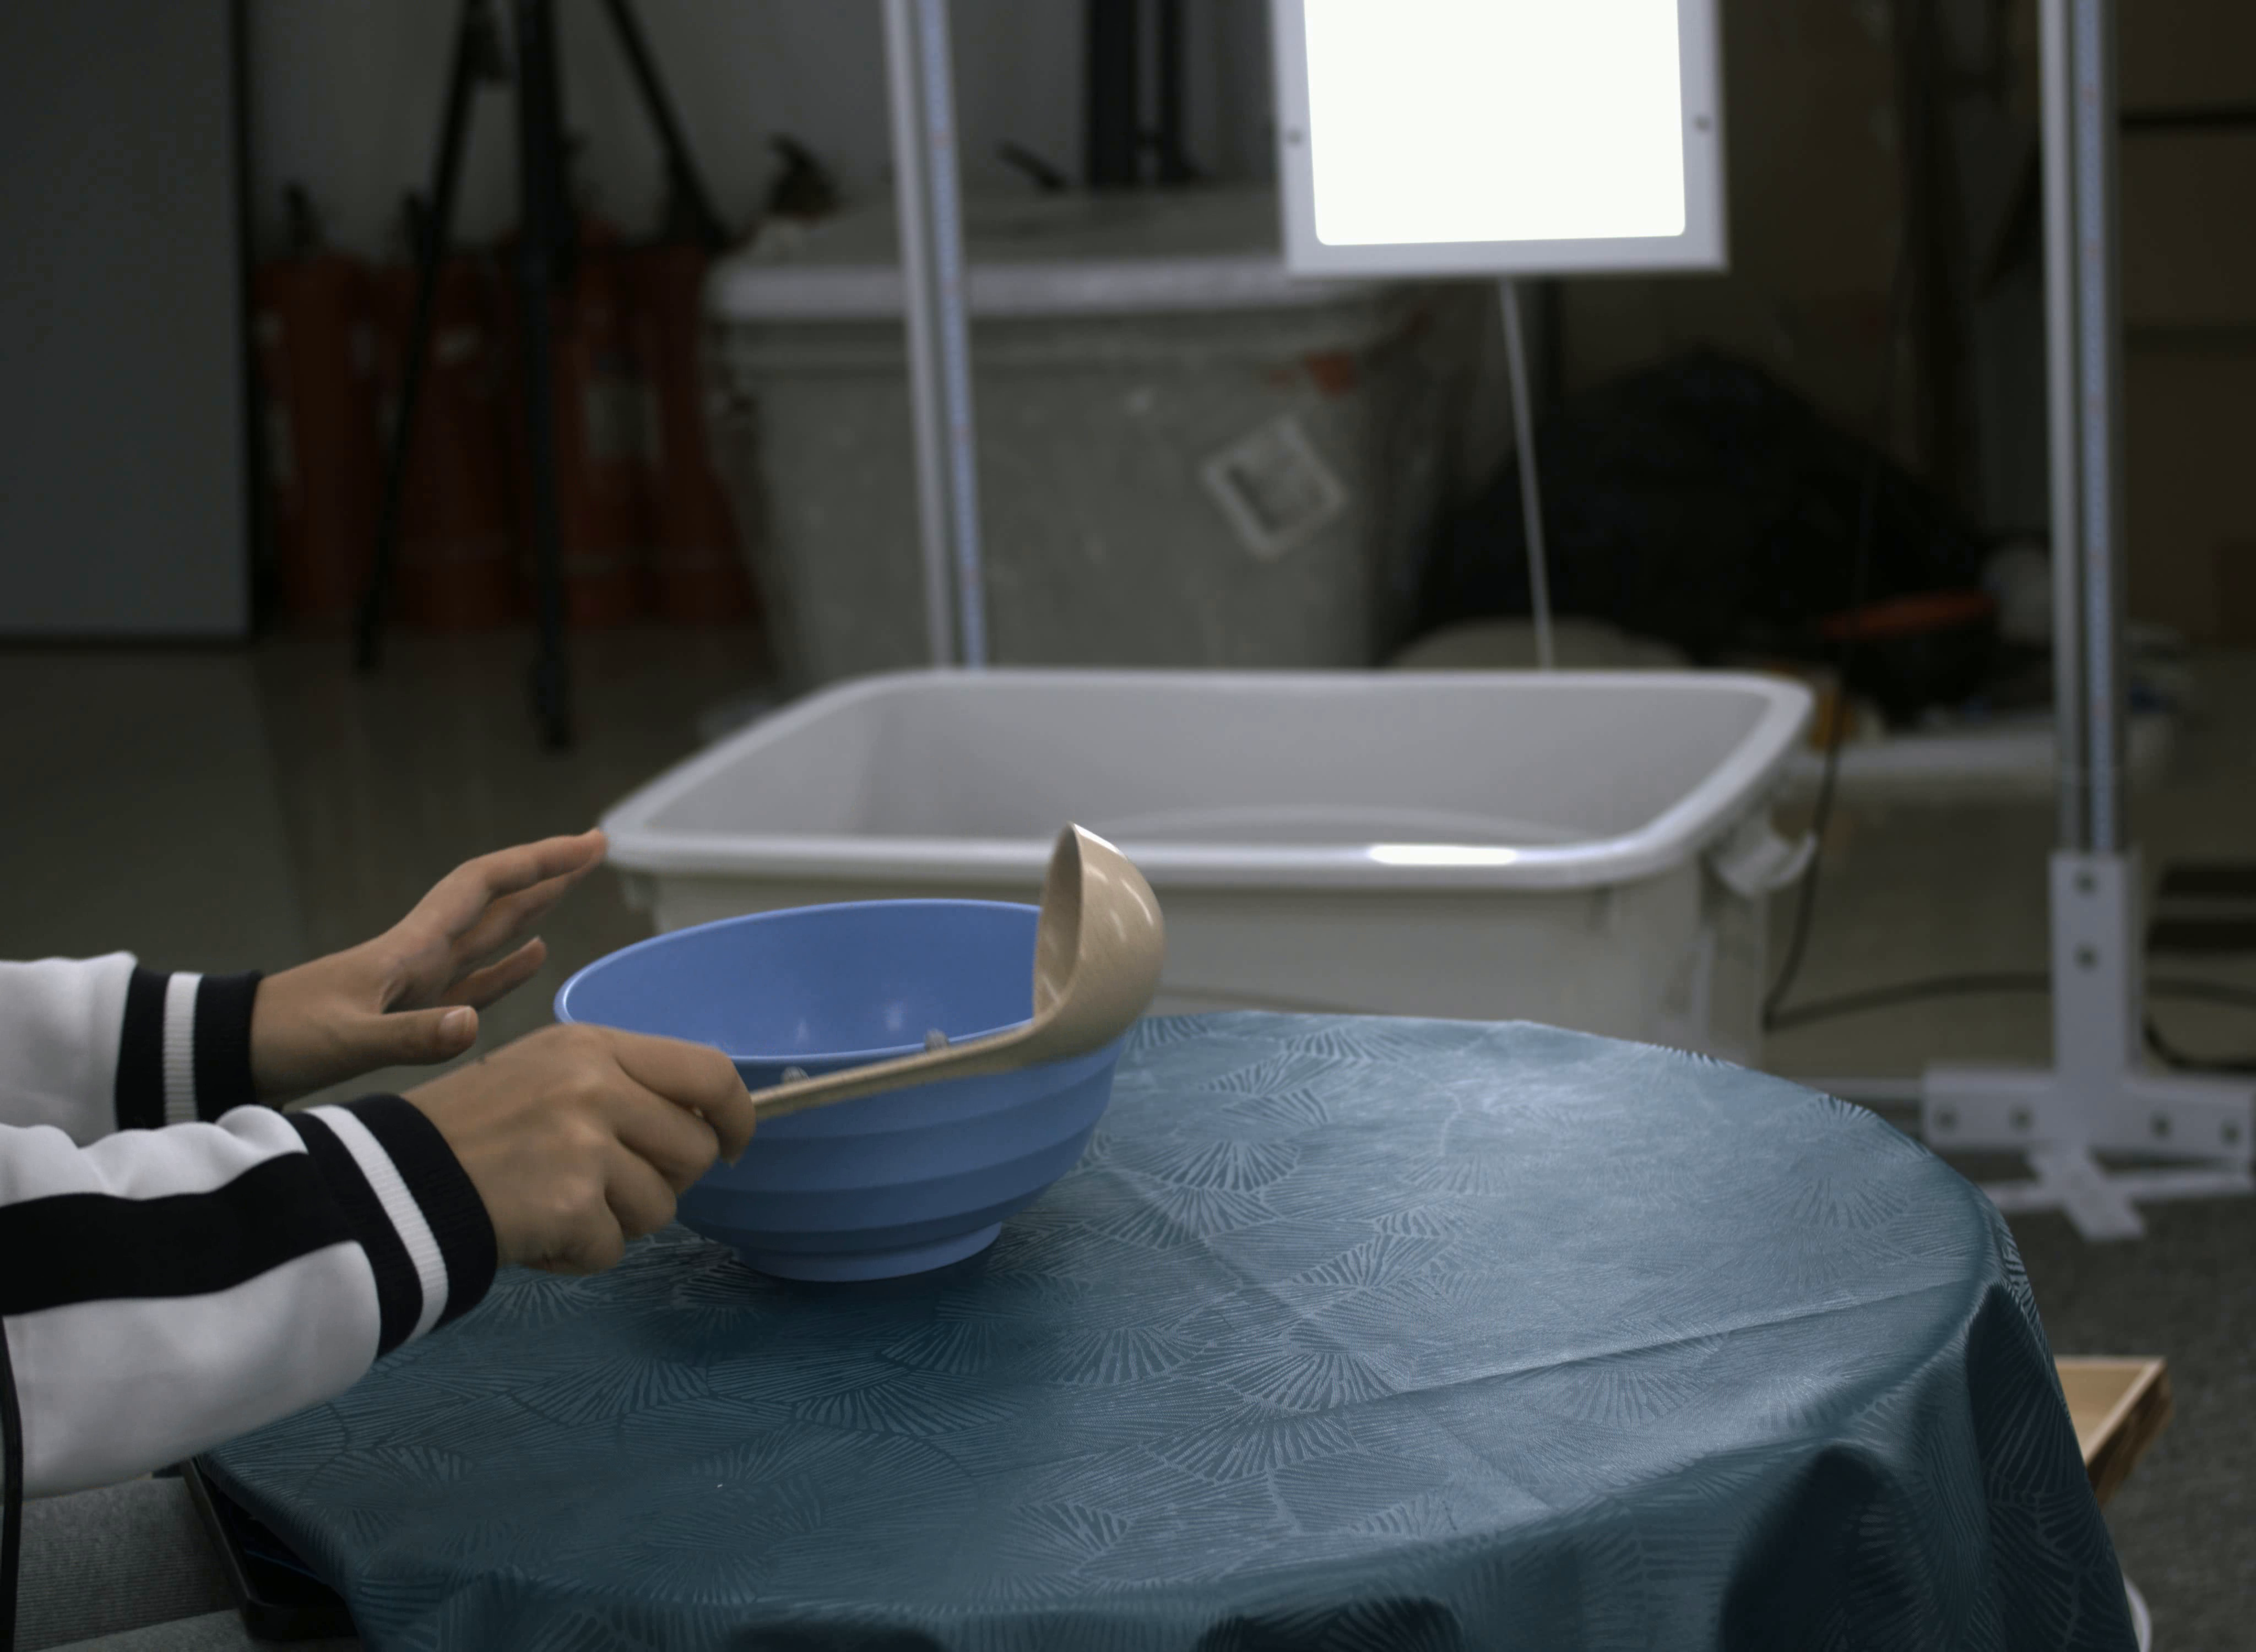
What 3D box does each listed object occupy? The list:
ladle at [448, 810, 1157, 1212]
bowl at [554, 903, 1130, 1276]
[{"bbox_3d":[-0.107,0.056,1.694,0.249,0.073,0.073,-15,58,-26],"label":"ladle"},{"bbox_3d":[-0.093,0.094,1.861,0.196,0.096,0.196,-3,12,-1],"label":"bowl"}]
